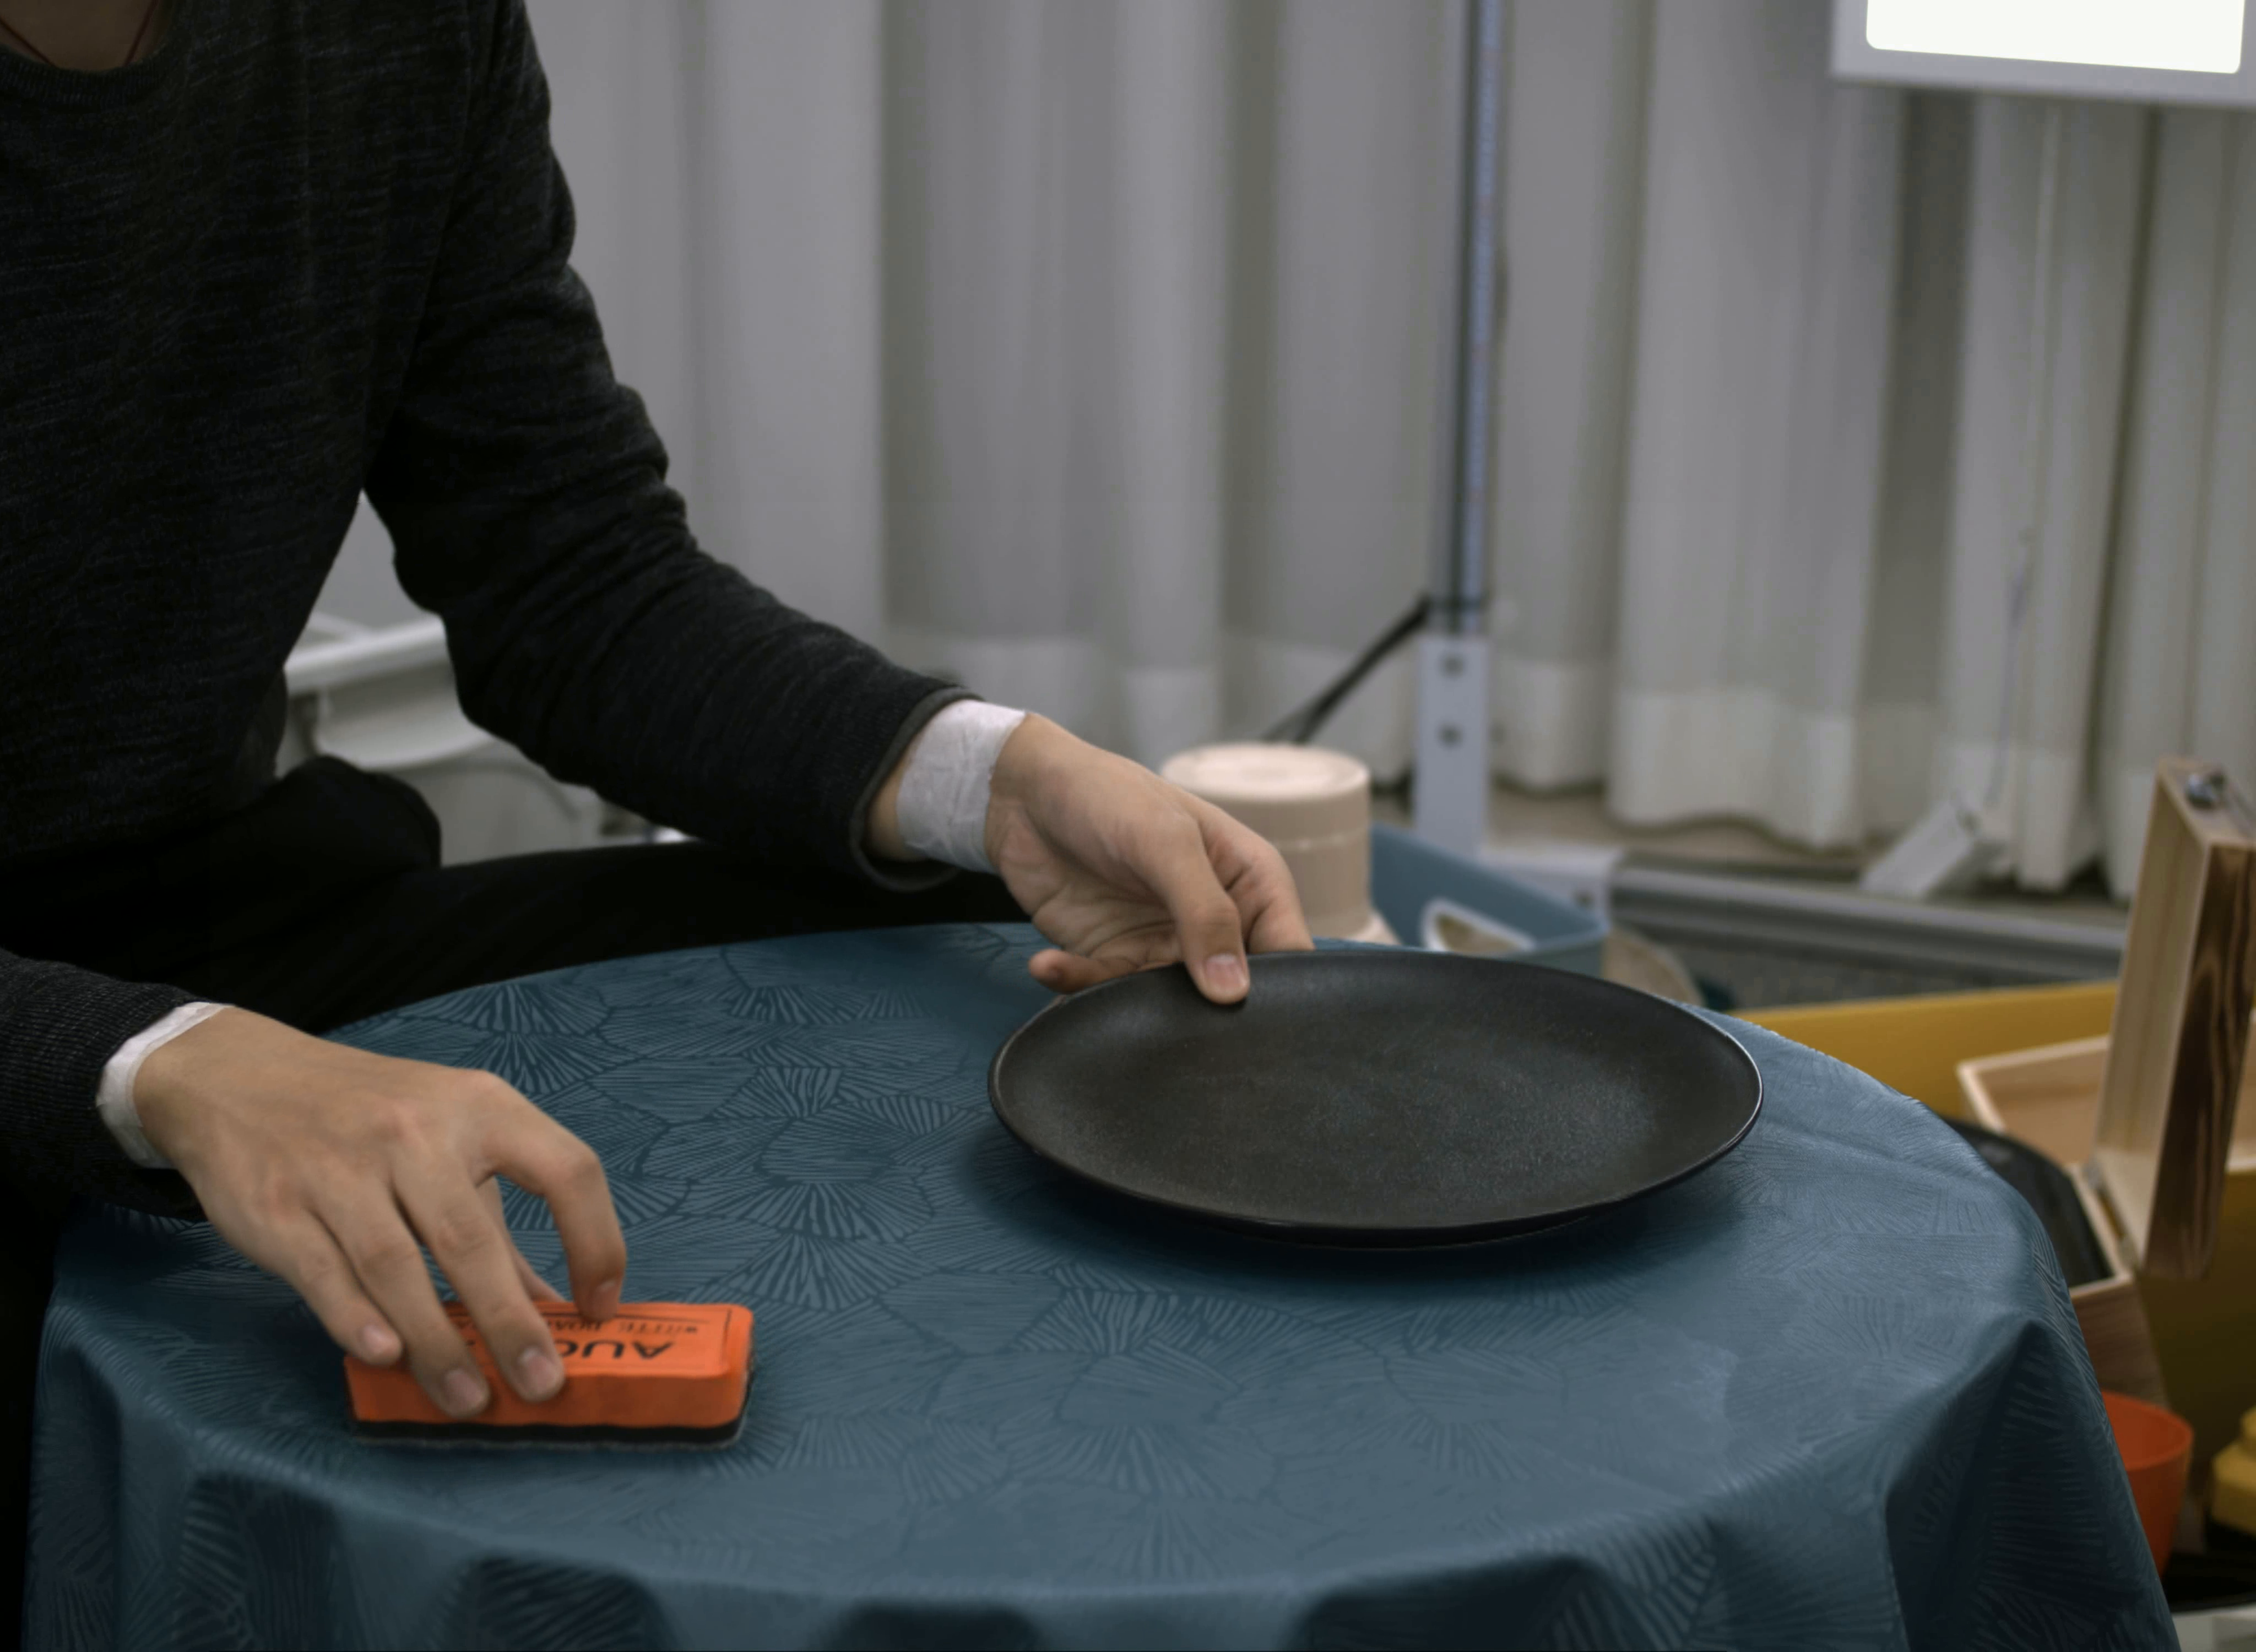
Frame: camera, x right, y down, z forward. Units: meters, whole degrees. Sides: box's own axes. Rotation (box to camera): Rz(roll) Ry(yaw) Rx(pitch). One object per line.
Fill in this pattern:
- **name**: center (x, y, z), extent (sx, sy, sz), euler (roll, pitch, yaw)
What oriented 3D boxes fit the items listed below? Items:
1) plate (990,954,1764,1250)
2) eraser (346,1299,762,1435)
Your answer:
- **plate**: center (0.078, 0.089, 1.653), extent (0.243, 0.023, 0.243), euler (0, 18, 0)
- **eraser**: center (-0.156, 0.147, 1.436), extent (0.107, 0.023, 0.059), euler (-1, 9, 2)
